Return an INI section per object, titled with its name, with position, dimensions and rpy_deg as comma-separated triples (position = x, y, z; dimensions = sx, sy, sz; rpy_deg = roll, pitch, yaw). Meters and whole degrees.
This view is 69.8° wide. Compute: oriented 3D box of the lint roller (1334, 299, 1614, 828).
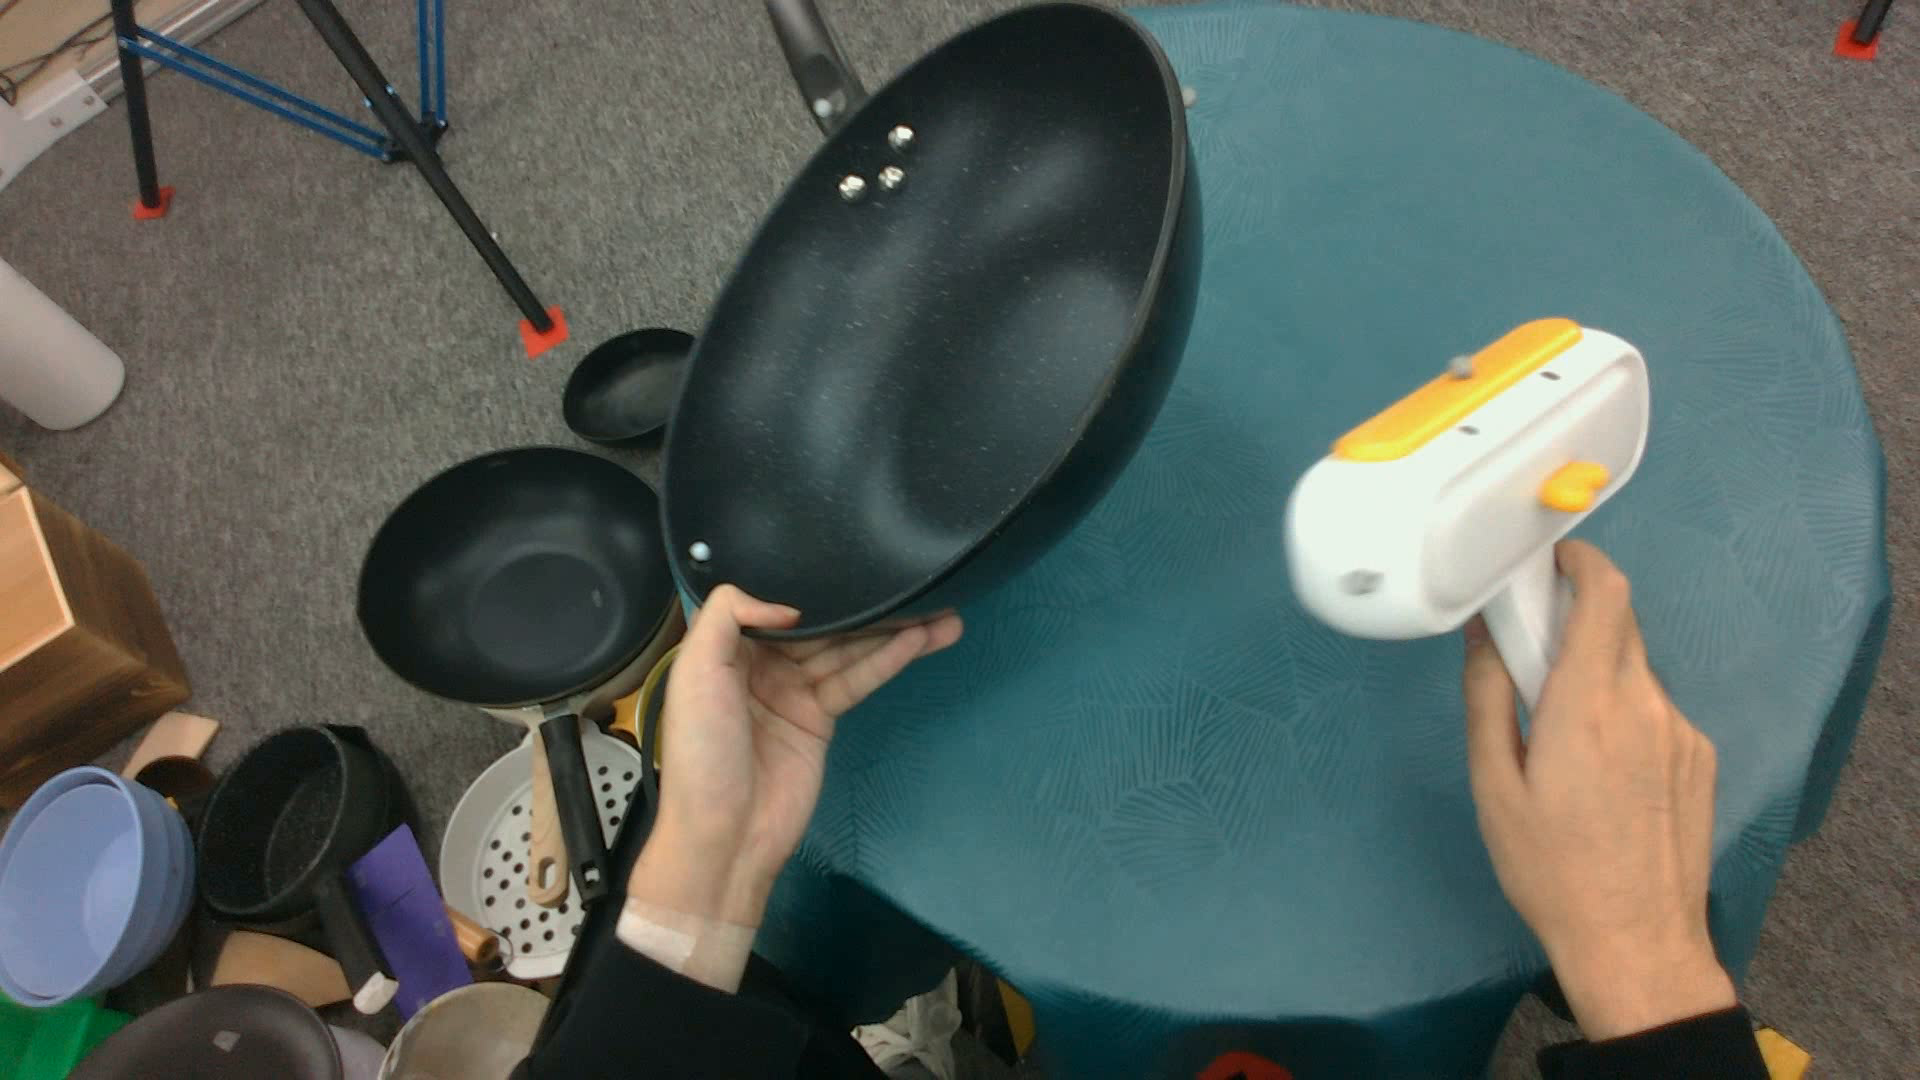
[lint roller]
position = 0.209, 0.021, 0.520
dimensions = 0.074, 0.192, 0.194
rpy_deg = 2, 26, 34

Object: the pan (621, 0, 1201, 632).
[pan]
position = -0.043, -0.156, 0.666
dimensions = 0.309, 0.111, 0.478
rpy_deg = -35, 48, 19
